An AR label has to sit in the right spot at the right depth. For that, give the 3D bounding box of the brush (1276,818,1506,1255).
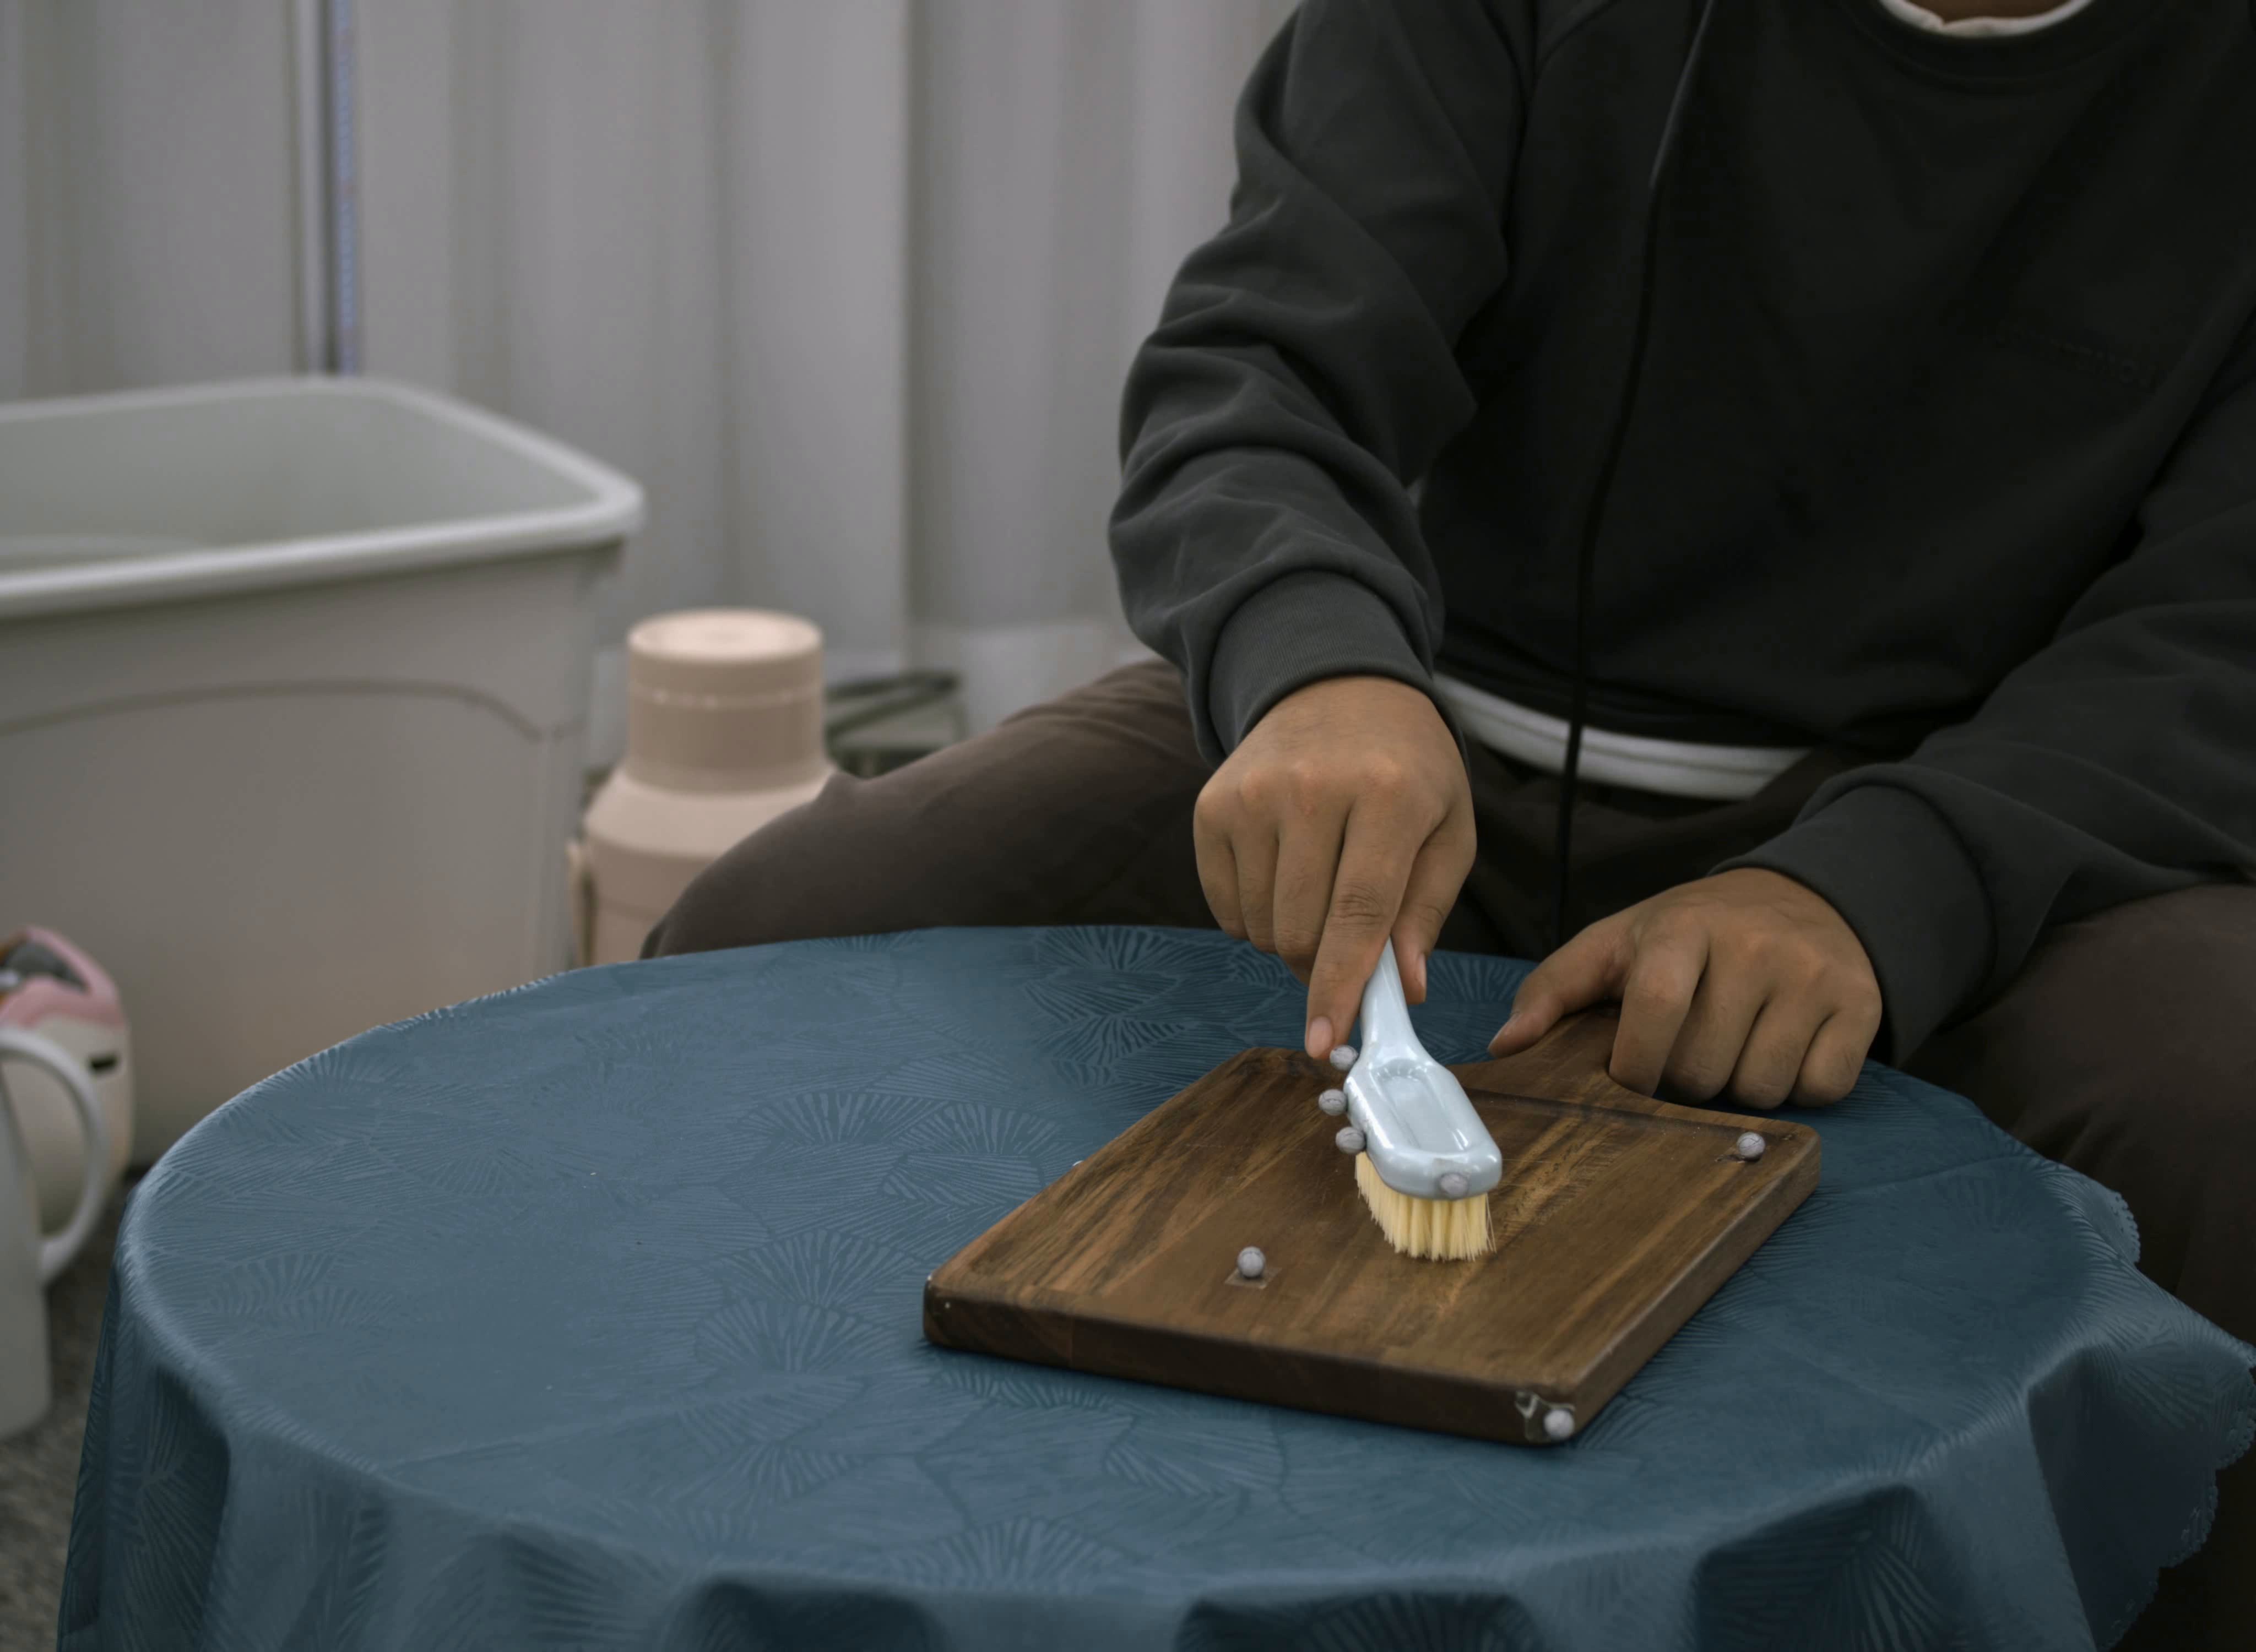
[{"bbox_3d":[0.075,0.061,1.618,0.038,0.050,0.226,-3,31,-10],"label":"brush"}]

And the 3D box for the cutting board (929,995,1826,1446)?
[{"bbox_3d":[0.100,0.108,1.609,0.199,0.023,0.353,8,17,23],"label":"cutting board"}]
